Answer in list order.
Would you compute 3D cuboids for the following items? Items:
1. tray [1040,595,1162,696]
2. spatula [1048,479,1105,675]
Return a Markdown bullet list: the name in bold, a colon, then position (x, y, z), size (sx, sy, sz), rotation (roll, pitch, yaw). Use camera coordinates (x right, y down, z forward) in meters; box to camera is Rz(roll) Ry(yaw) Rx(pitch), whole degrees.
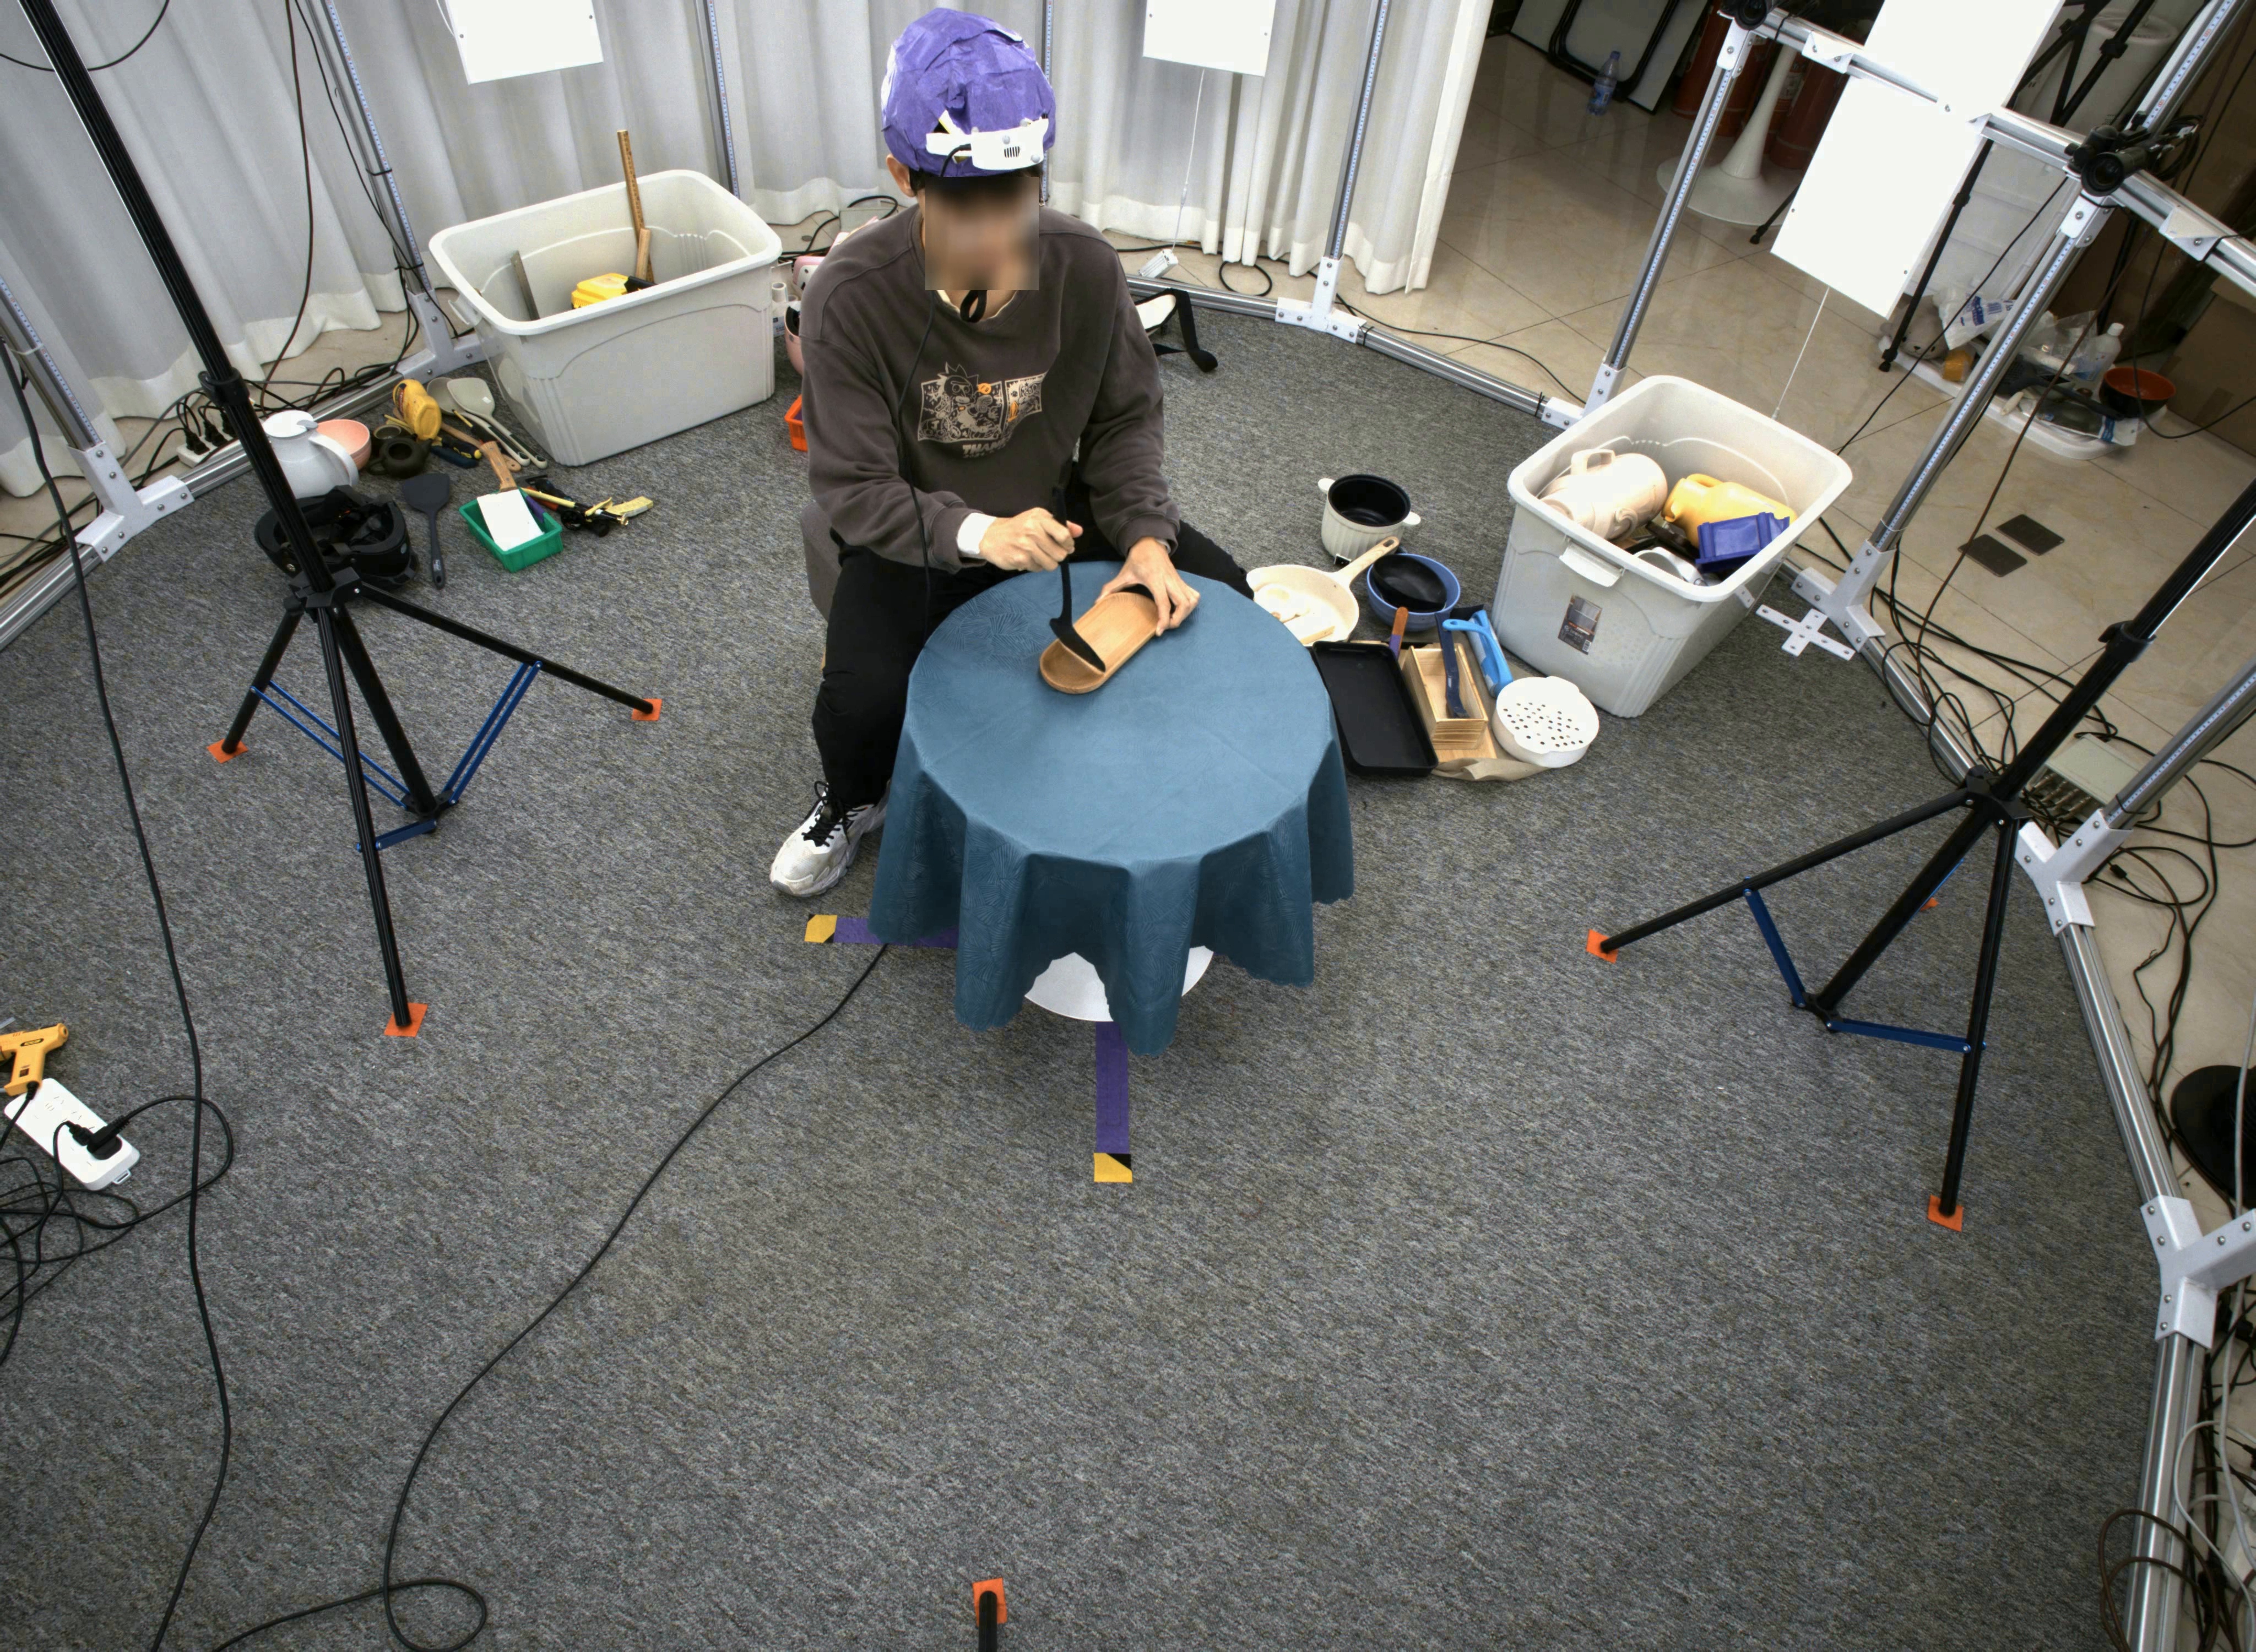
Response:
- **tray**: position (-0.038, -0.267, 1.885), size (0.103, 0.020, 0.234), rotation (29, 55, 21)
- **spatula**: position (-0.078, -0.332, 1.728), size (0.101, 0.318, 0.041), rotation (36, 57, 28)
